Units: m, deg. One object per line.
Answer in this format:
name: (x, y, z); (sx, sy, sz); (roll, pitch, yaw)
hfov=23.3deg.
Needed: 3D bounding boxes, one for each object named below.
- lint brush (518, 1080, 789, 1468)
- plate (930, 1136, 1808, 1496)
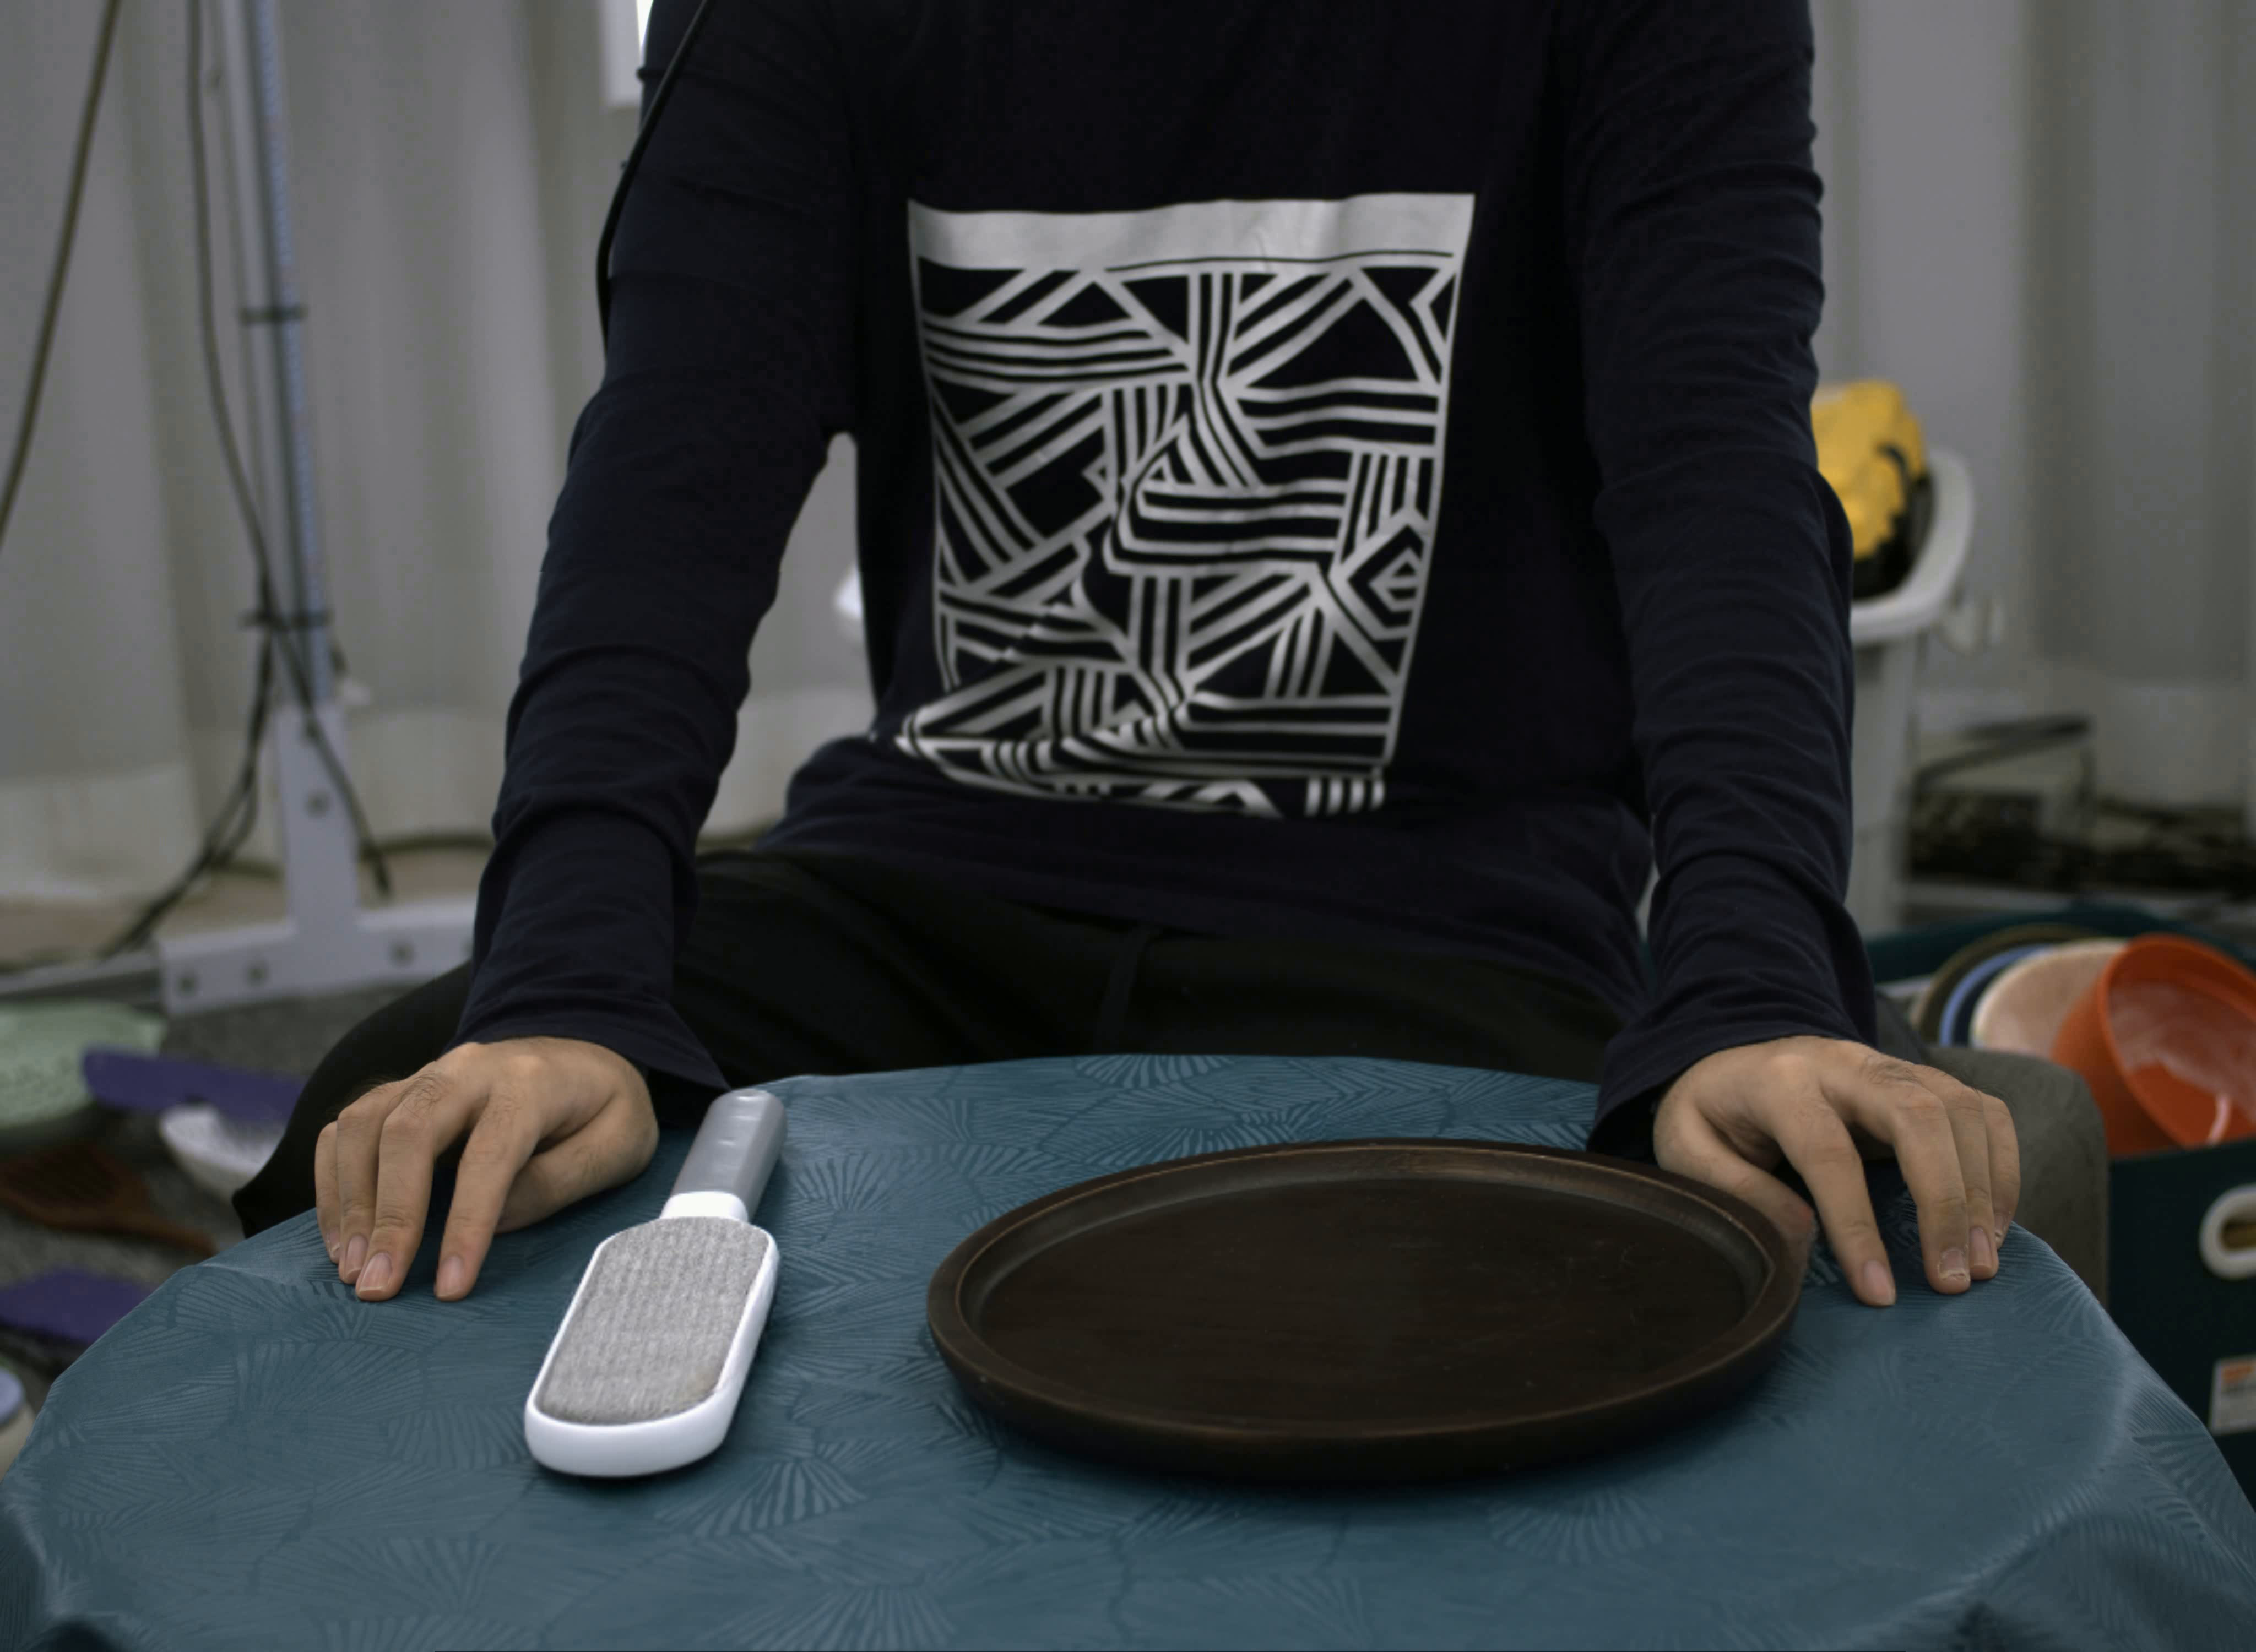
lint brush: (-0.131, 0.129, 1.634); (0.060, 0.021, 0.311); (-7, 14, 6)
plate: (0.069, 0.137, 1.570); (0.254, 0.029, 0.256); (-1, 15, 0)
